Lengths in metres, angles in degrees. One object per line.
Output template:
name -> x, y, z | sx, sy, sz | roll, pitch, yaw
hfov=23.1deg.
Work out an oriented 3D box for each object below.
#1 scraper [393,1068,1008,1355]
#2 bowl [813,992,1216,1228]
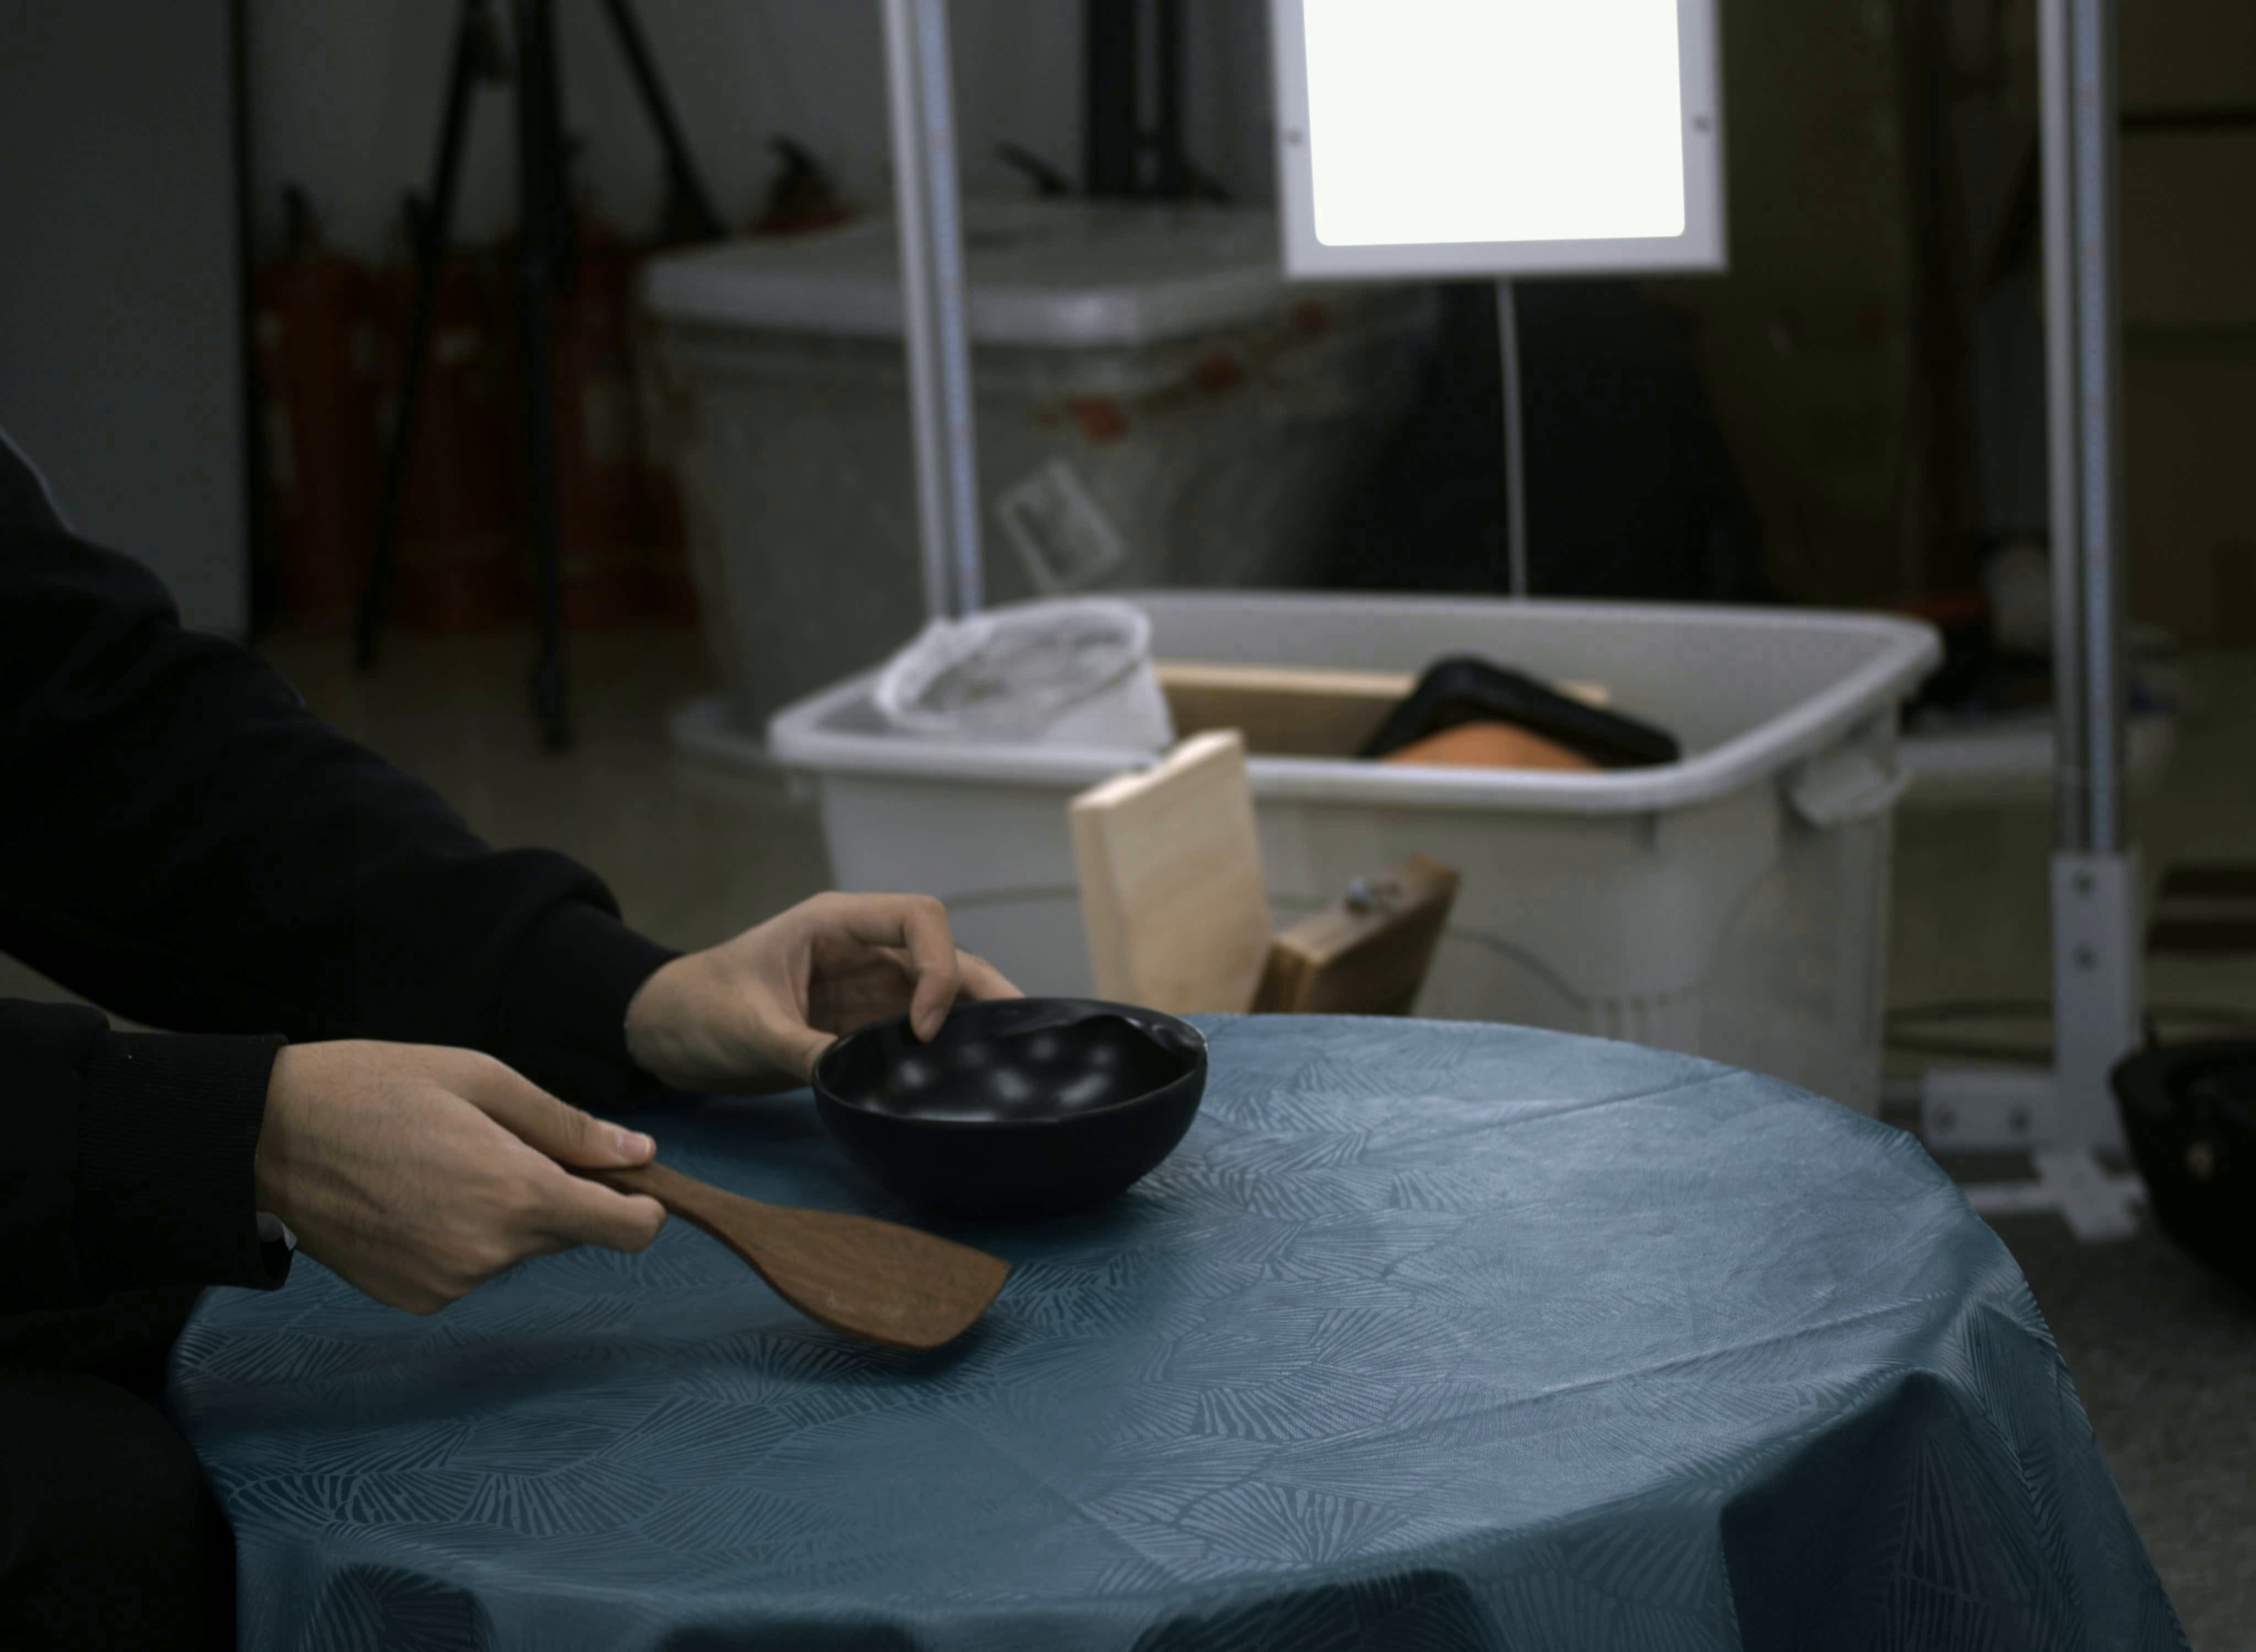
scraper -> -0.141, 0.121, 1.781 | 0.213, 0.011, 0.074 | 21, 25, 15
bowl -> -0.037, 0.103, 1.902 | 0.140, 0.050, 0.140 | -5, 18, 0
